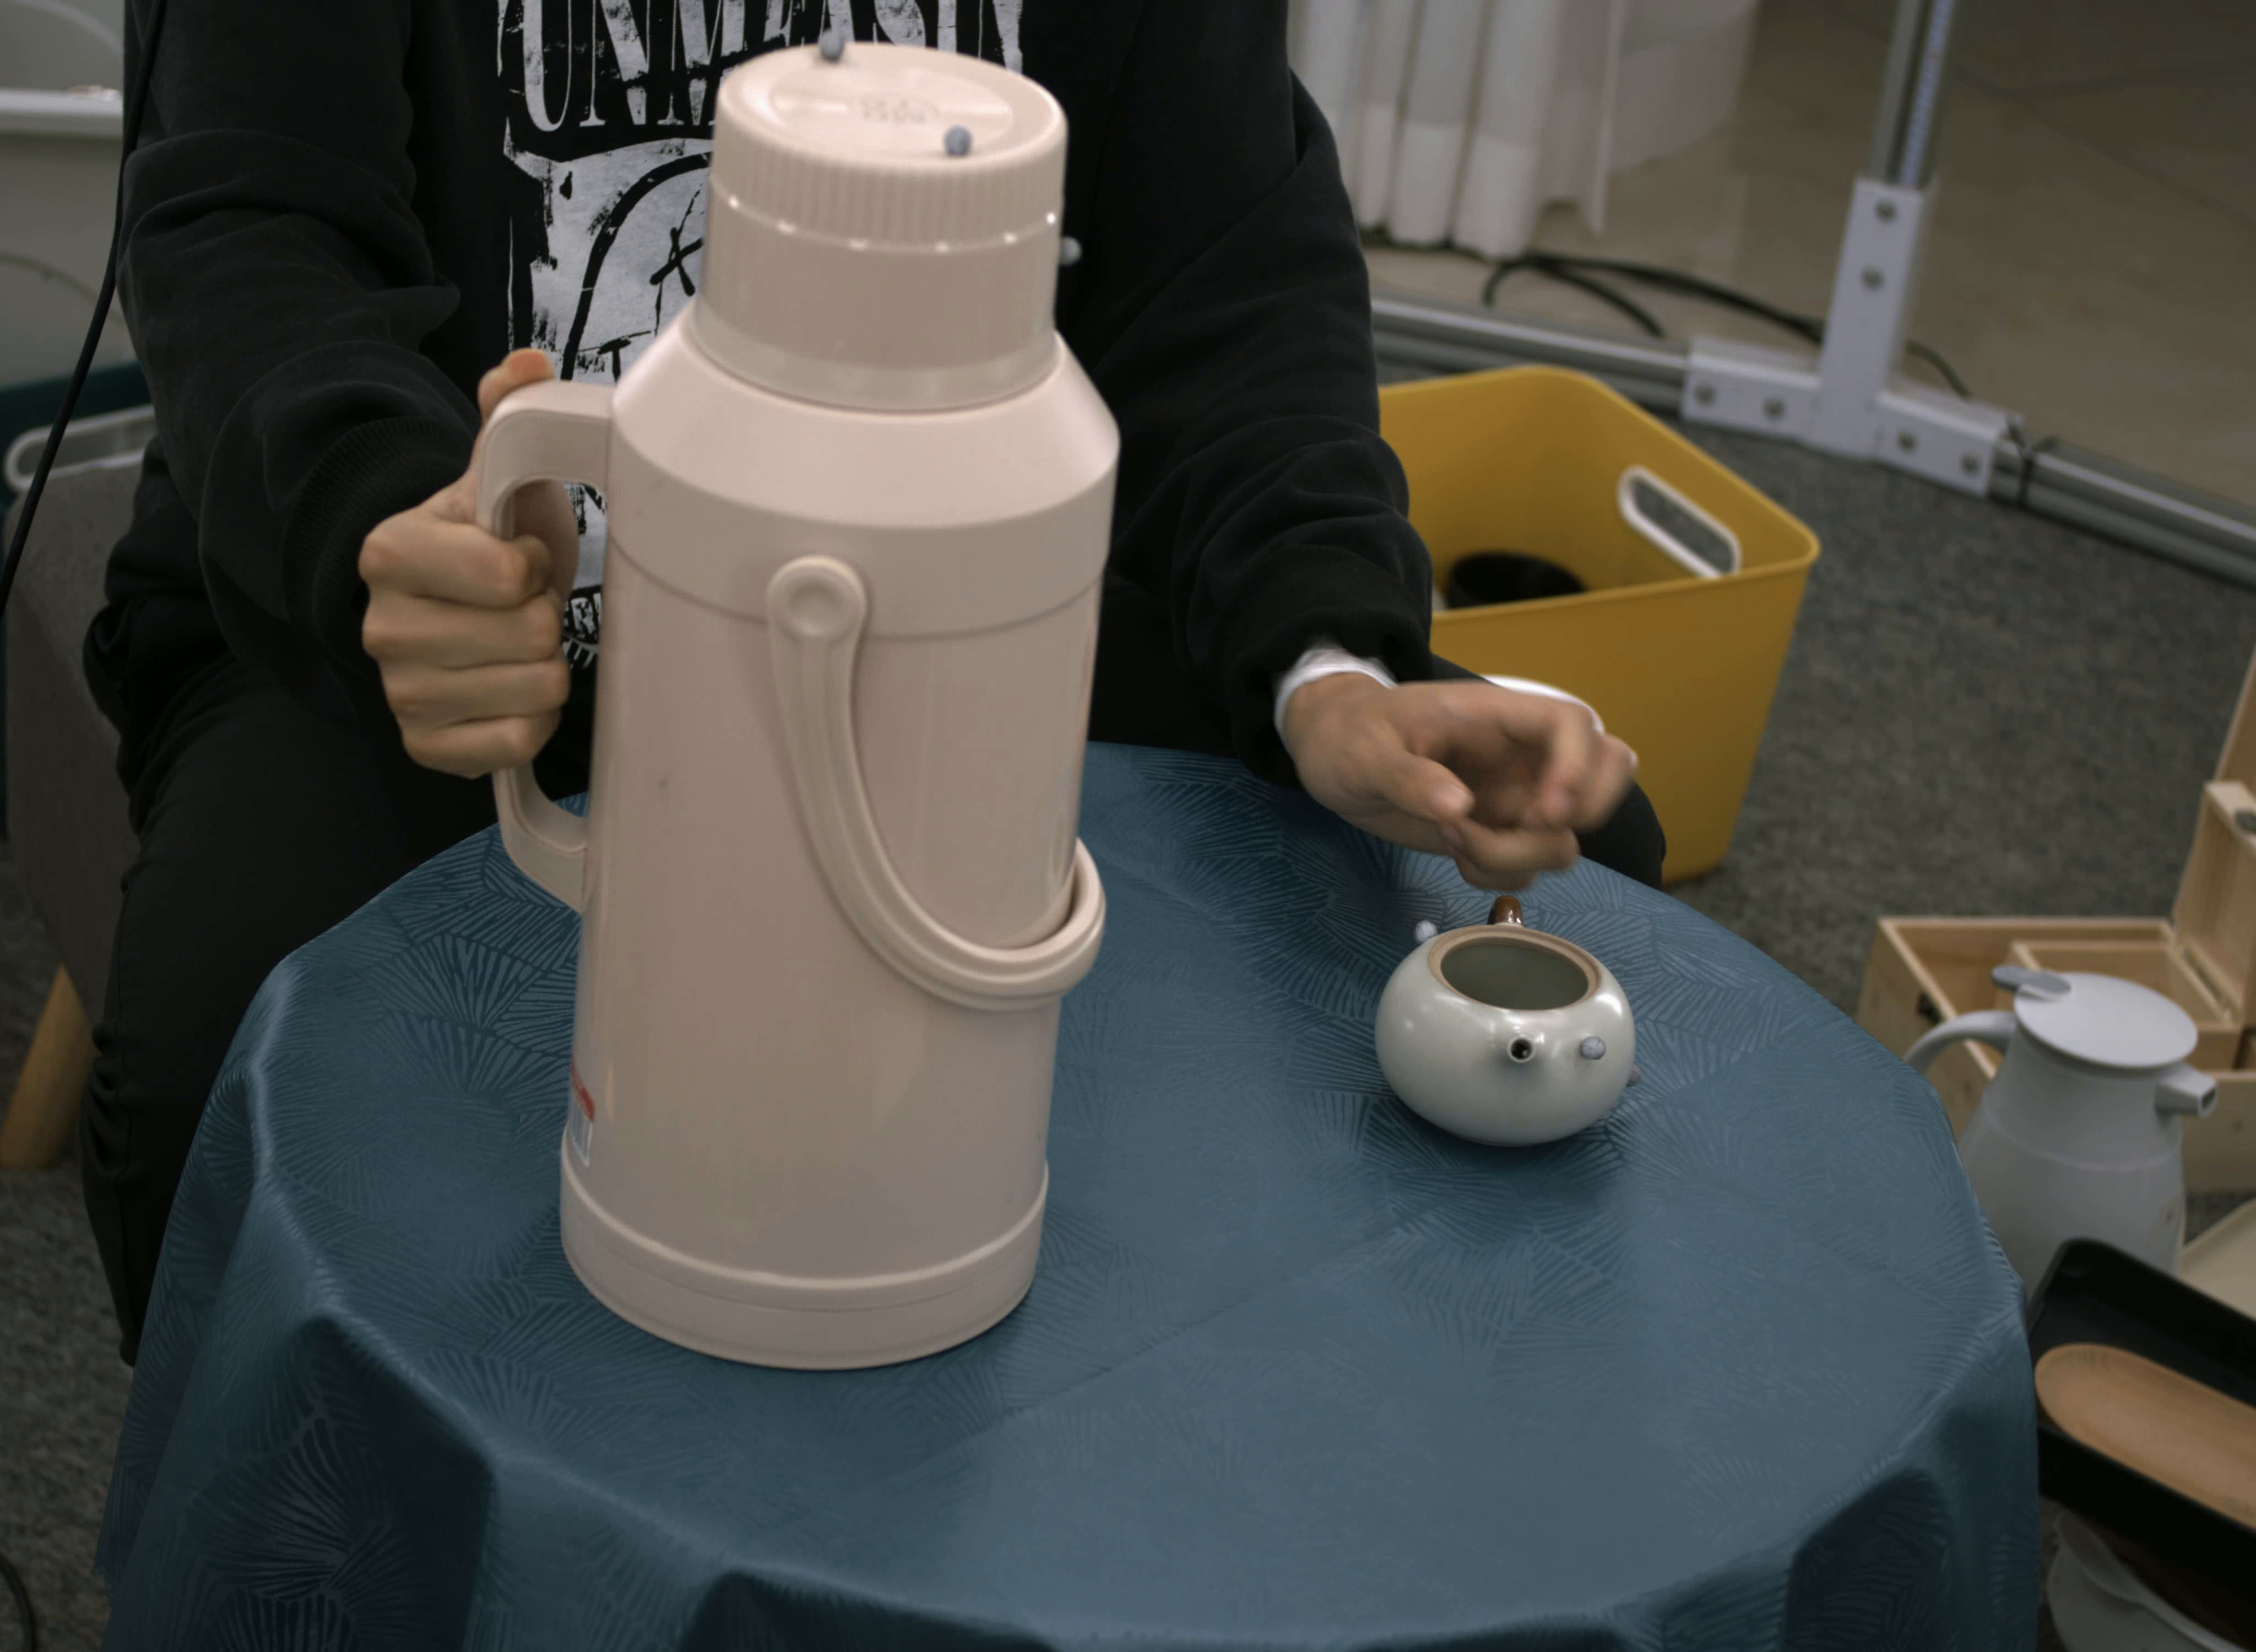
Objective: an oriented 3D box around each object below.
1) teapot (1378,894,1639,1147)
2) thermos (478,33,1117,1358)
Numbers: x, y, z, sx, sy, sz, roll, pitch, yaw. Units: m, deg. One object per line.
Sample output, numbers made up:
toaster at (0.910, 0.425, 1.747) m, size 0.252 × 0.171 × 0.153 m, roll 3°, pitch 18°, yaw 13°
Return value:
teapot at (0.133, 0.069, 1.876) m, size 0.091 × 0.059 × 0.129 m, roll 2°, pitch 27°, yaw -2°
thermos at (-0.104, -0.043, 1.672) m, size 0.206 × 0.405 × 0.176 m, roll 8°, pitch 28°, yaw 2°
